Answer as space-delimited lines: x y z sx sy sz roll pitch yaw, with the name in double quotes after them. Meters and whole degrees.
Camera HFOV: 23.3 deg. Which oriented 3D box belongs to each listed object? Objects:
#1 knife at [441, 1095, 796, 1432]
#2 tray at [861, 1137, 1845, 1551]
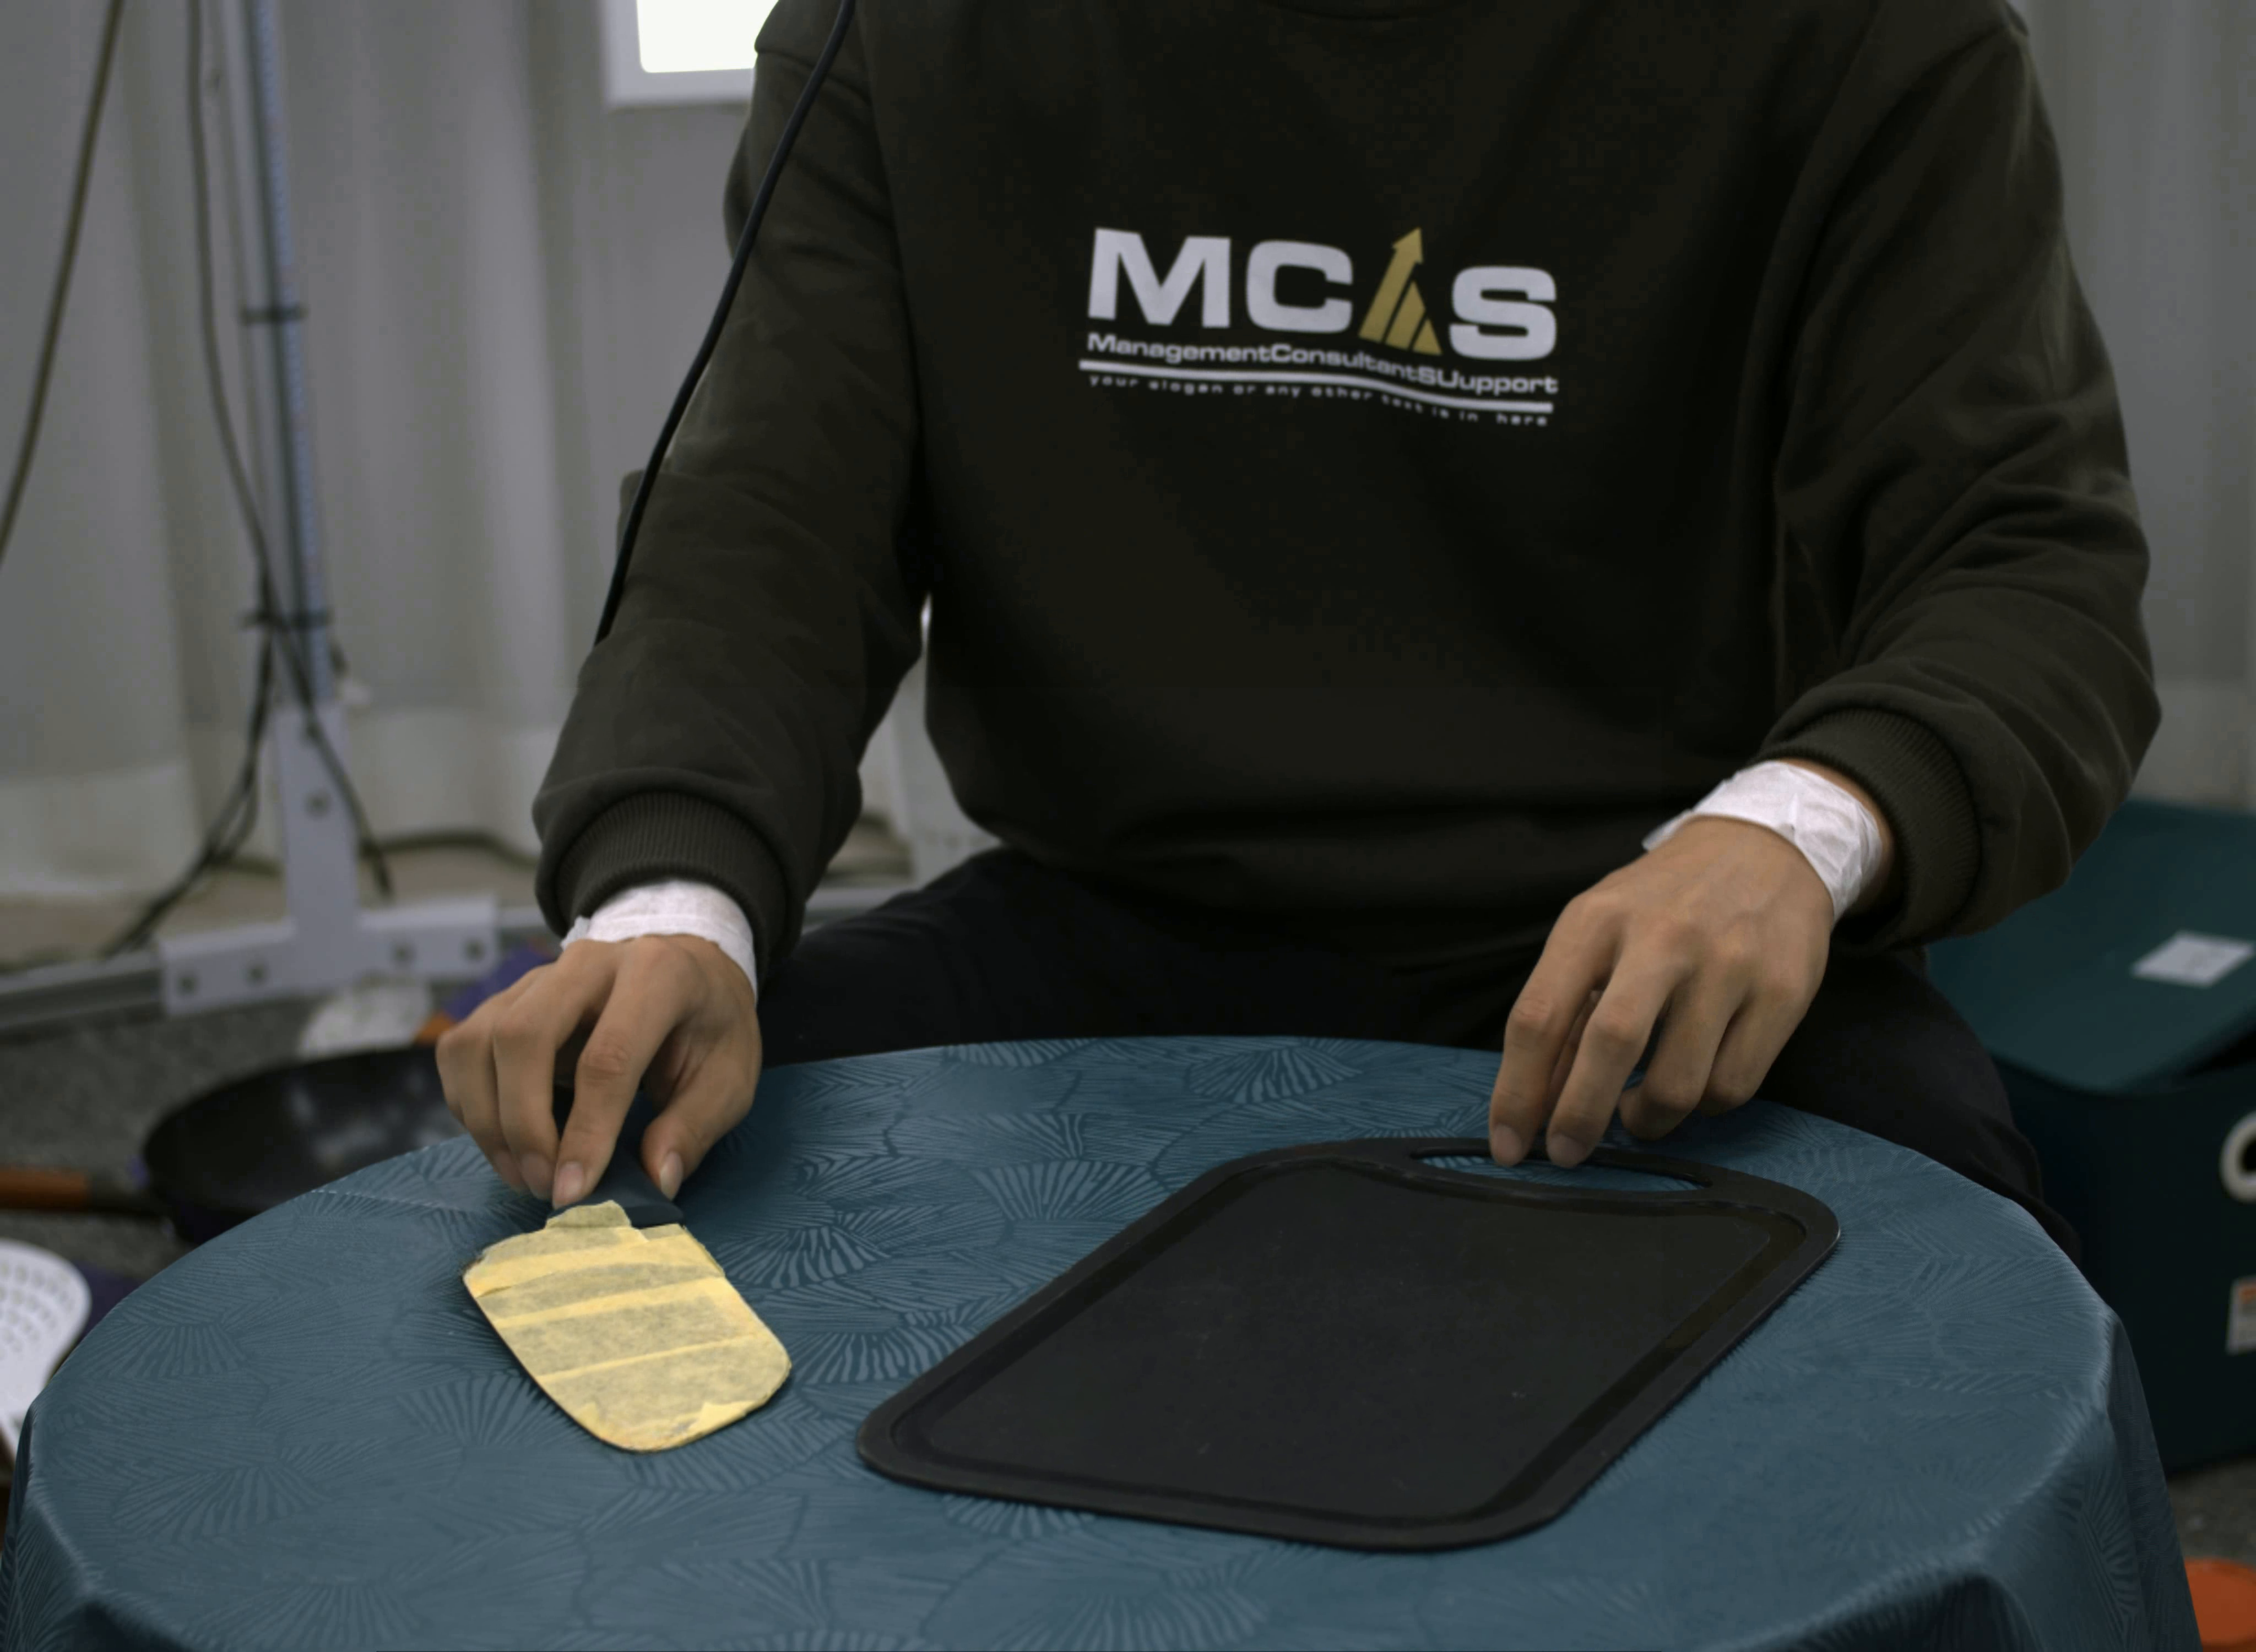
-0.165 0.132 1.653 0.080 0.027 0.292 -6 16 -17 "knife"
0.074 0.141 1.589 0.211 0.010 0.326 5 17 27 "tray"
